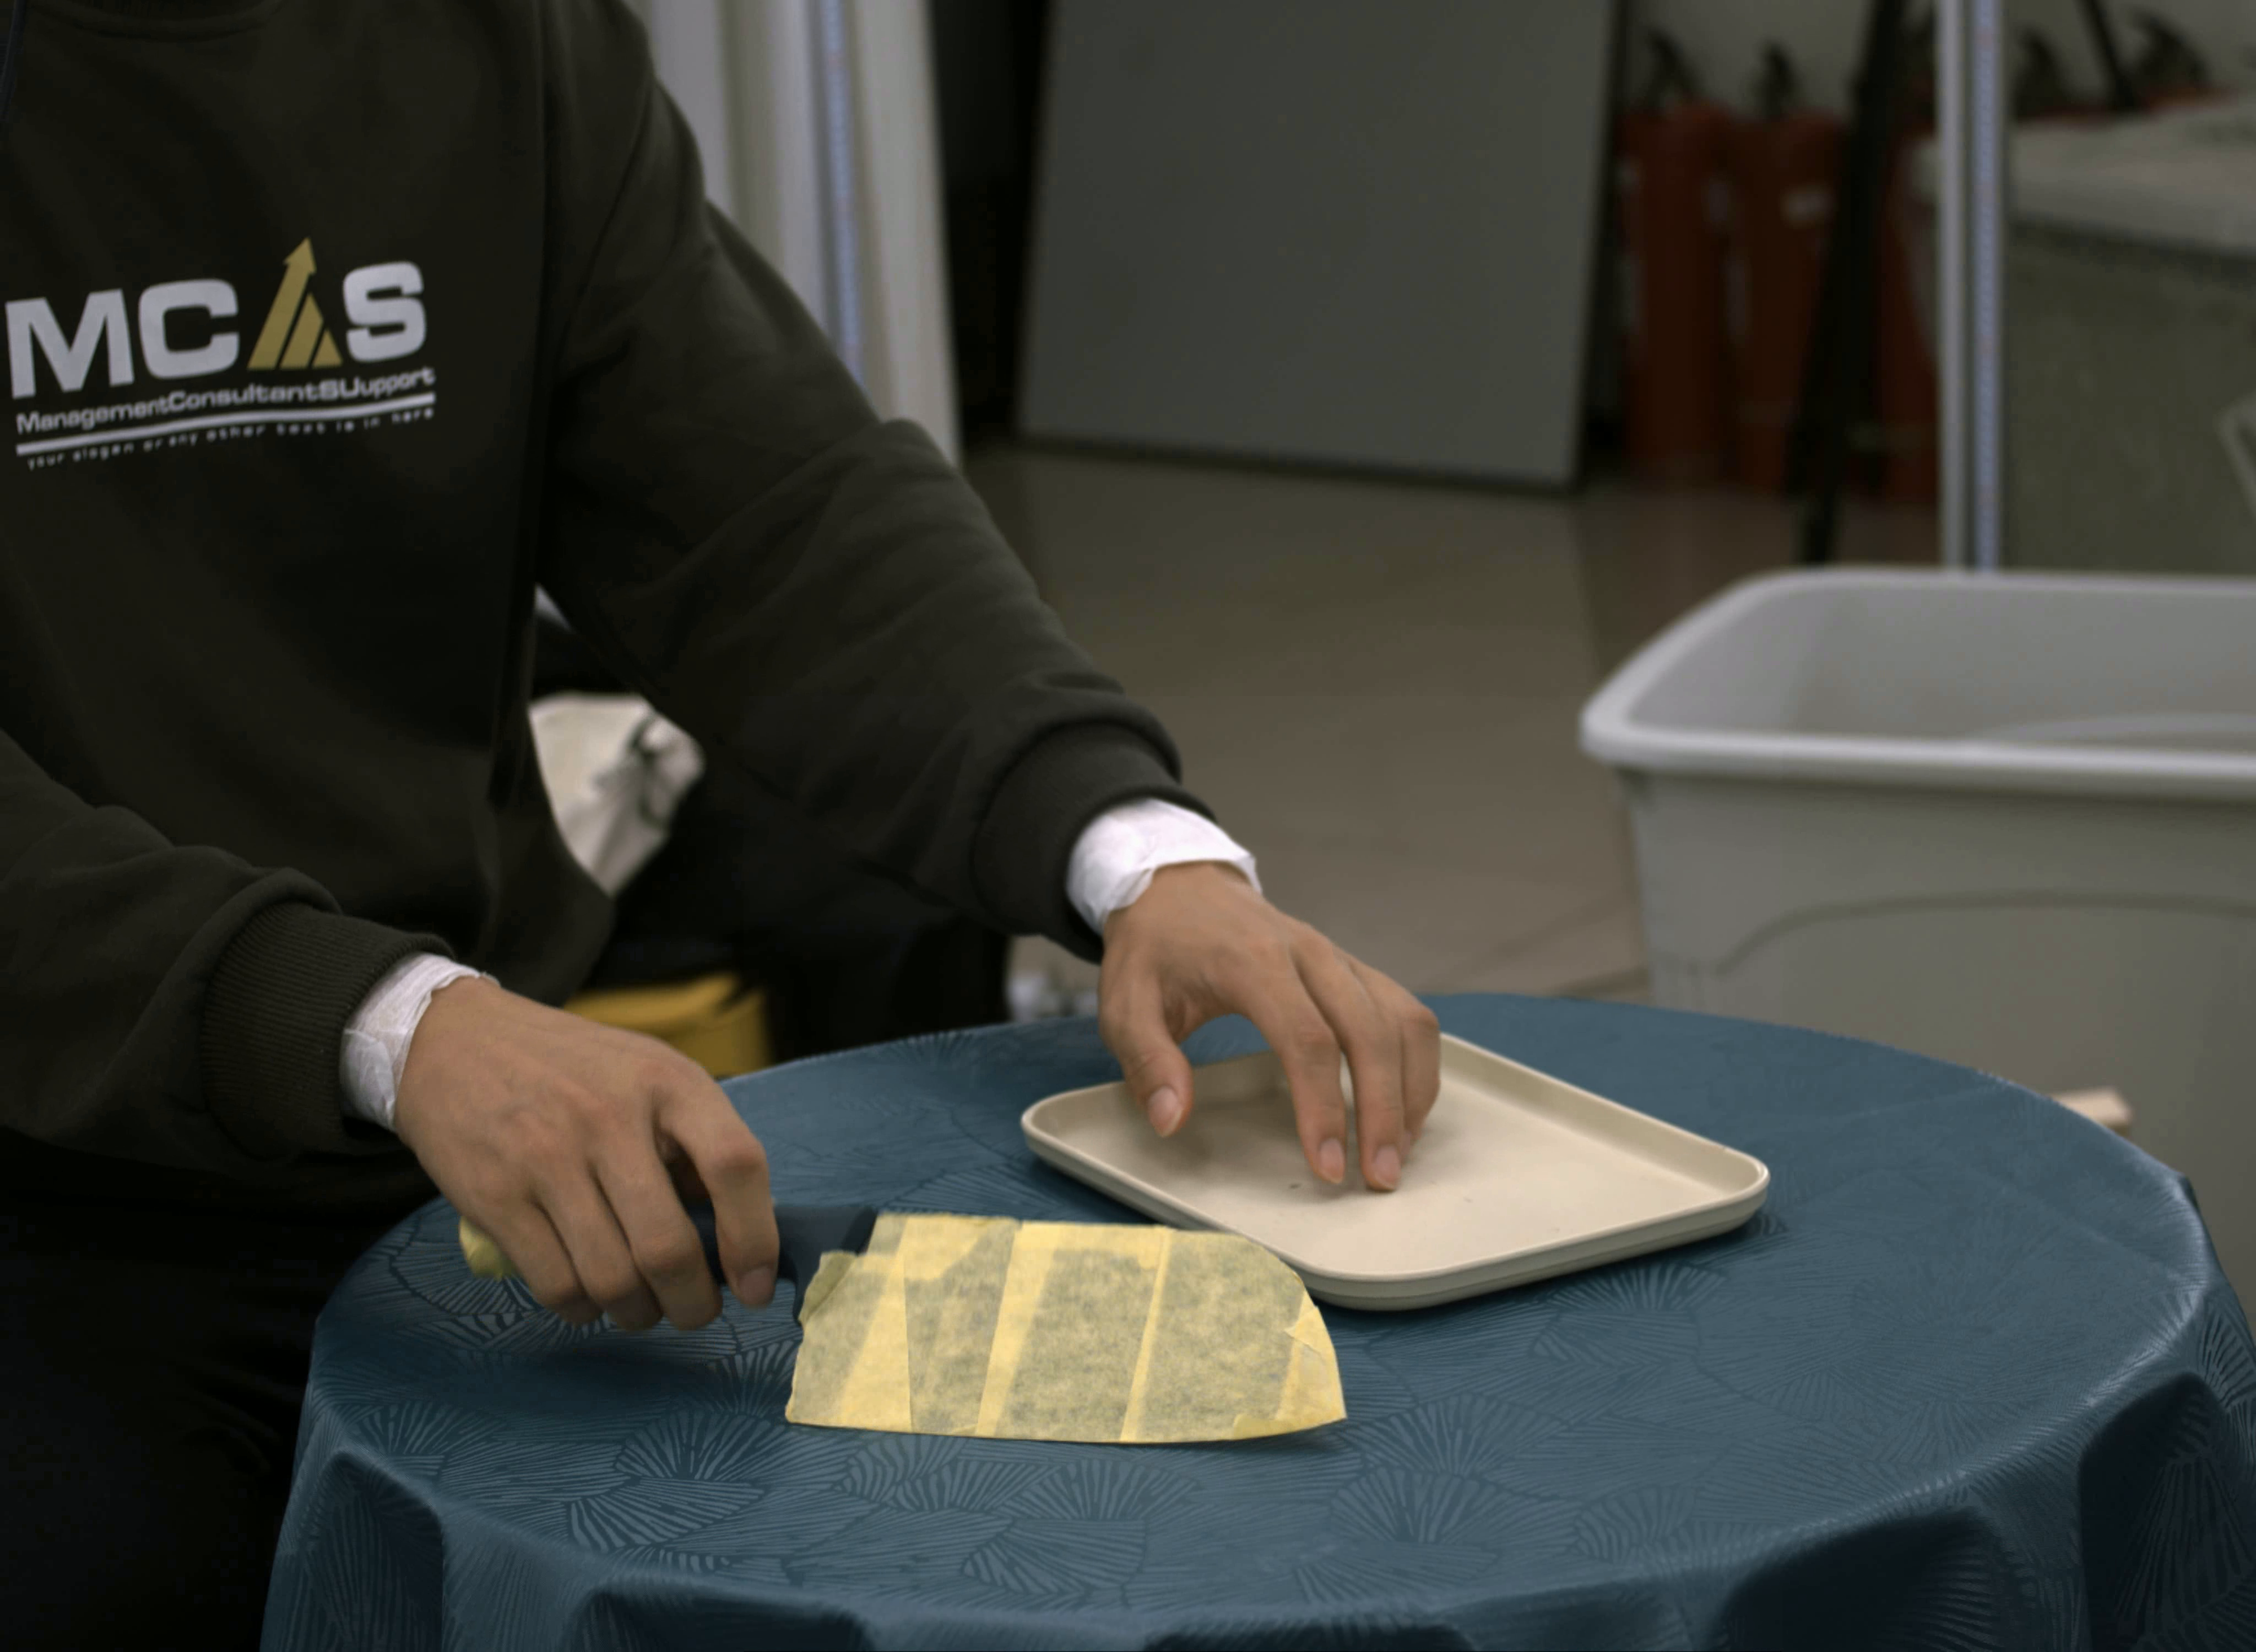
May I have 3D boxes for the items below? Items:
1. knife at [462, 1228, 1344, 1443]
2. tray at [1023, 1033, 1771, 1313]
[{"bbox_3d":[-0.071,0.148,1.591,0.289,0.027,0.081,1,50,23],"label":"knife"},{"bbox_3d":[0.085,0.111,1.752,0.167,0.017,0.242,-12,15,-27],"label":"tray"}]
